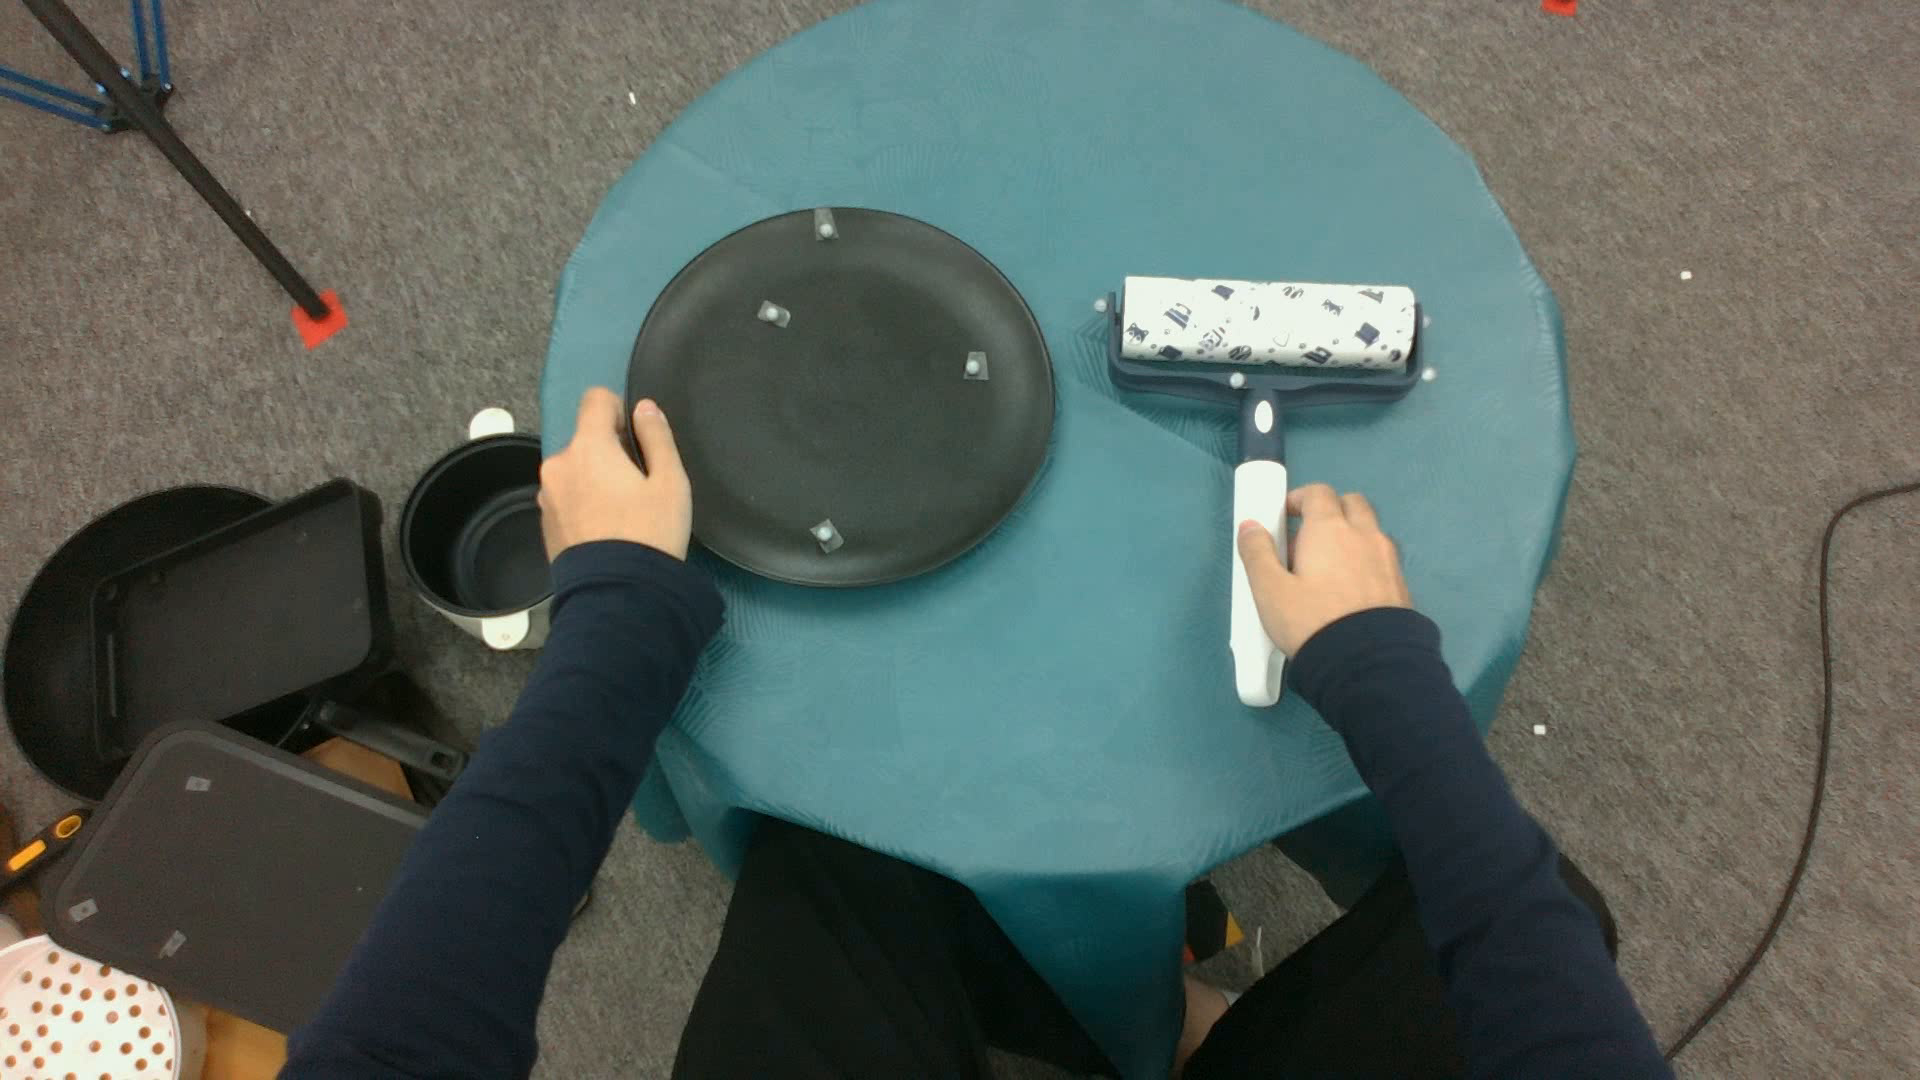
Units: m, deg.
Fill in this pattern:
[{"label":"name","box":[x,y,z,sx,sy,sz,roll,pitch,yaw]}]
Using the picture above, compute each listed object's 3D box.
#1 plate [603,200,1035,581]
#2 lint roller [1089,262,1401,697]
[{"label":"plate","box":[-0.079,-0.088,0.787,0.244,0.023,0.245,1,68,-3]},{"label":"lint roller","box":[0.157,-0.038,0.760,0.176,0.050,0.248,3,71,2]}]
